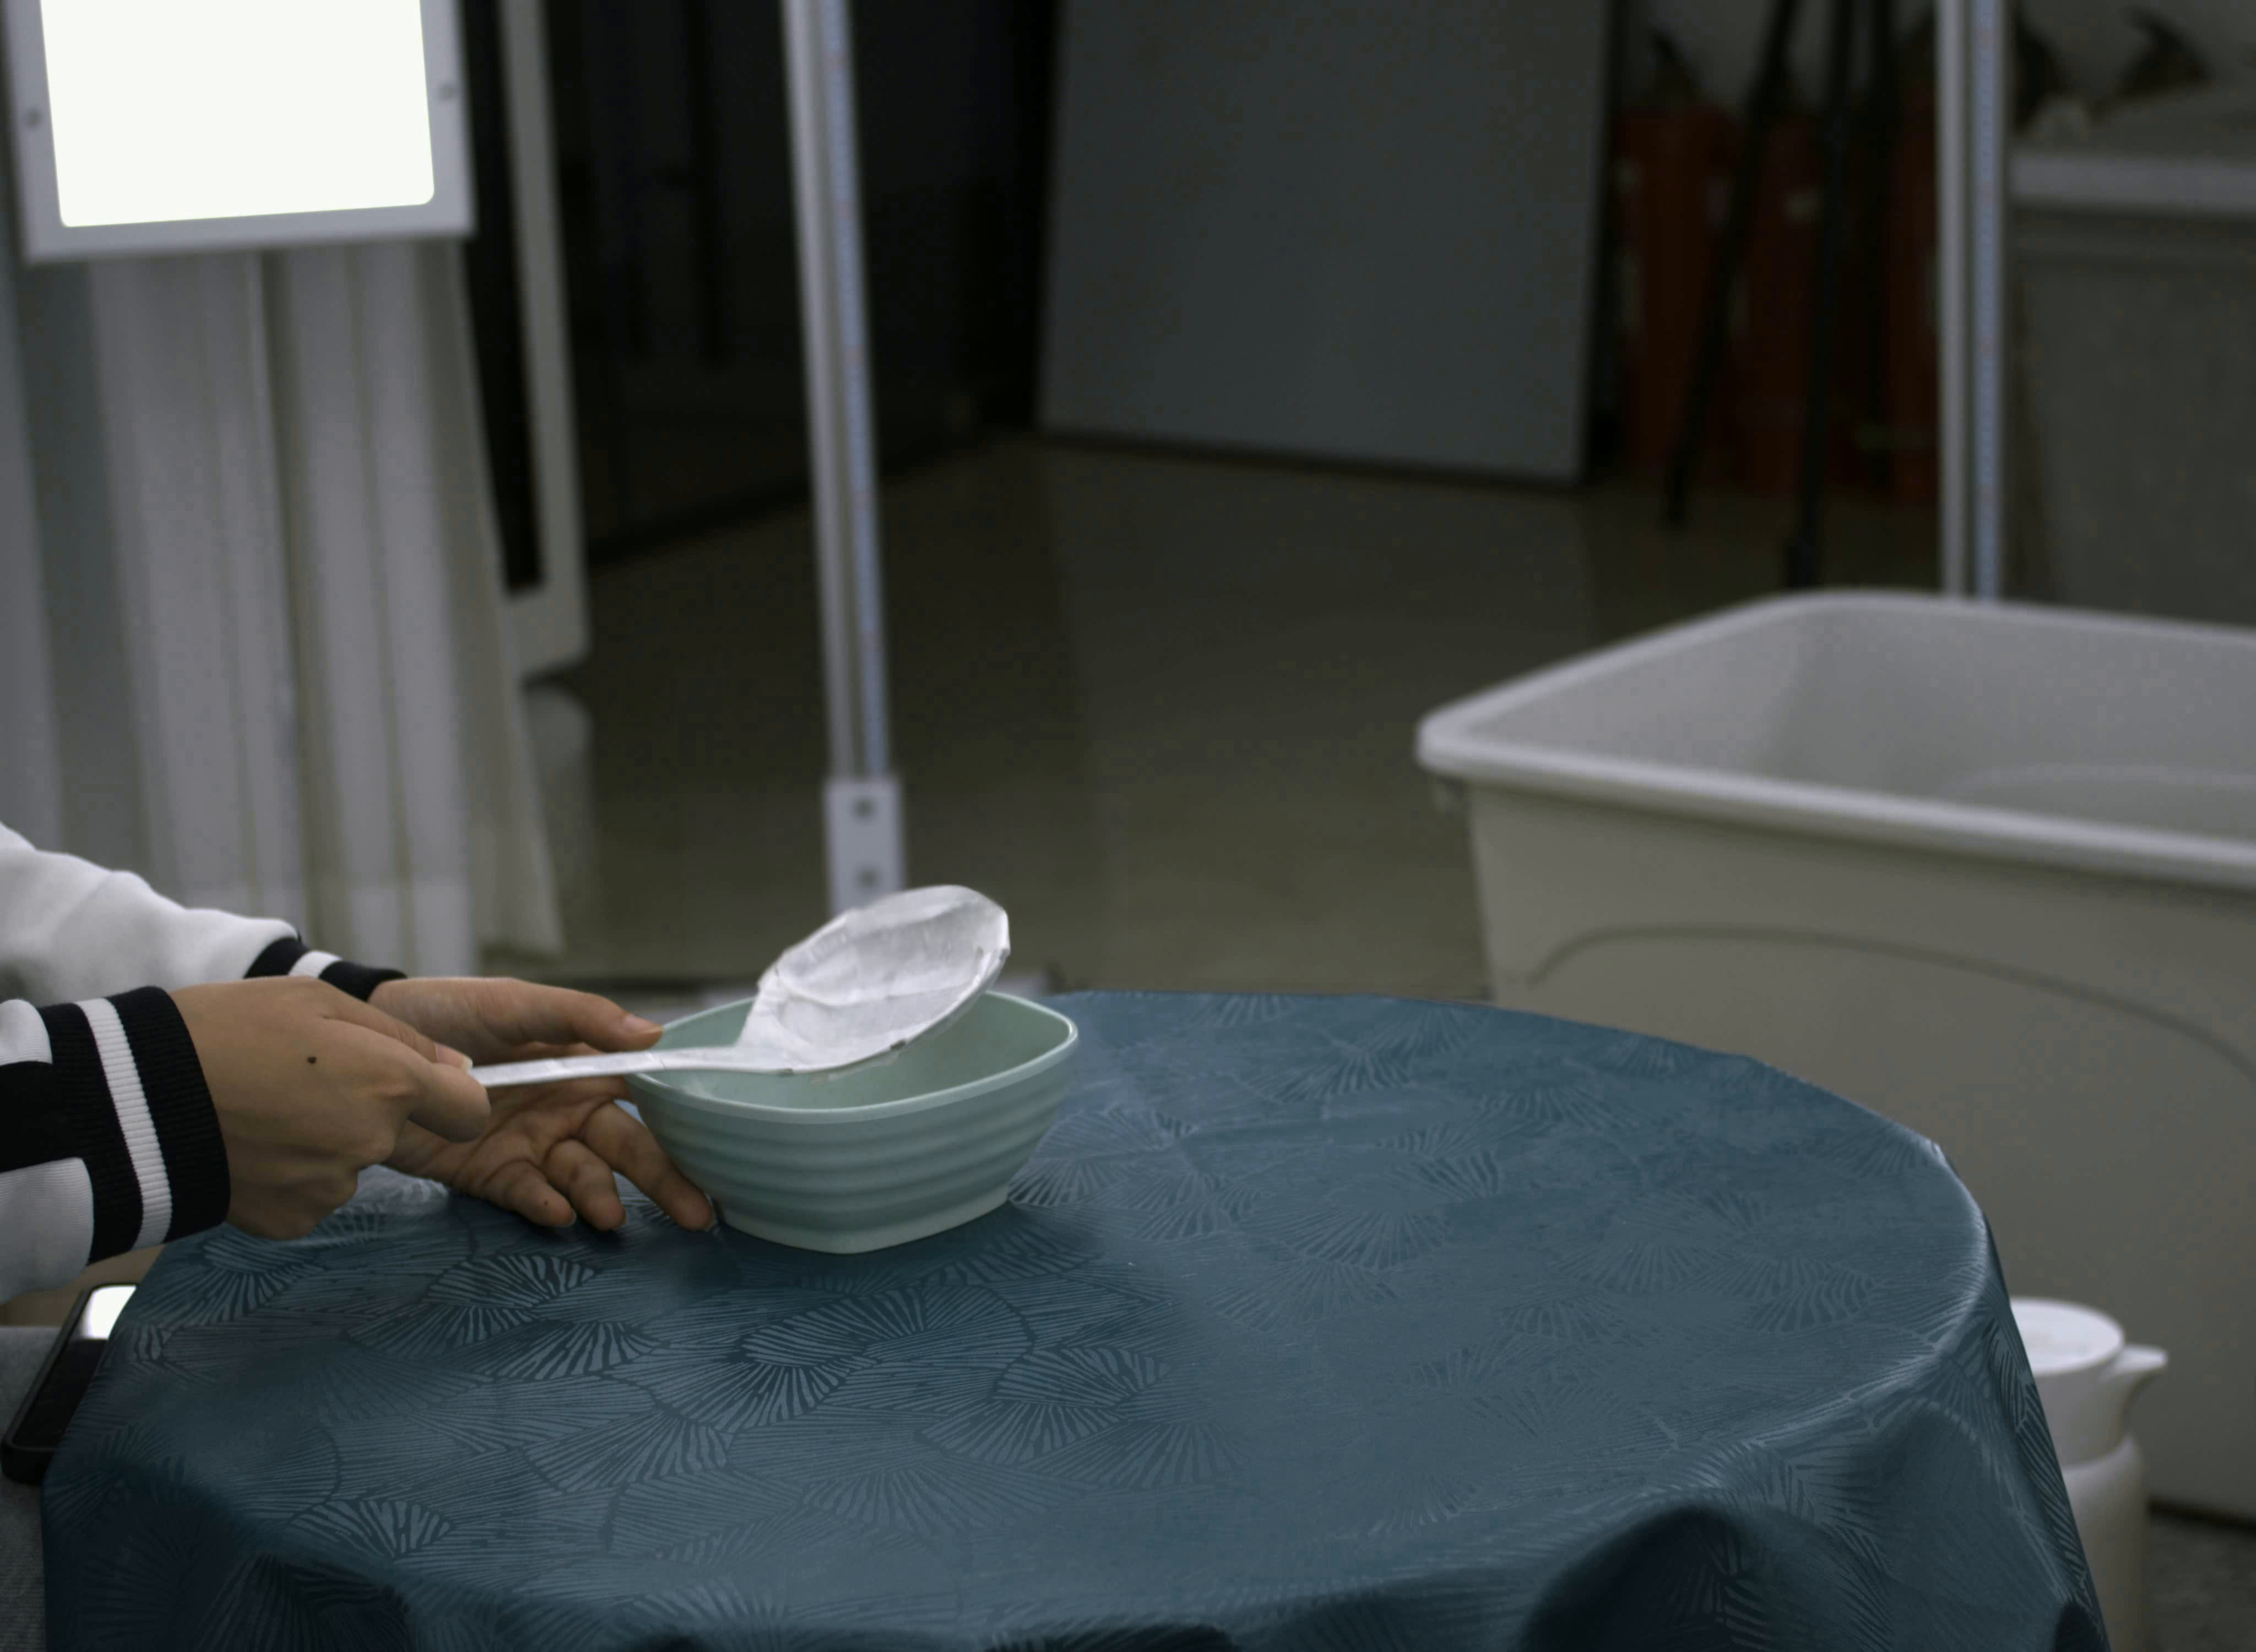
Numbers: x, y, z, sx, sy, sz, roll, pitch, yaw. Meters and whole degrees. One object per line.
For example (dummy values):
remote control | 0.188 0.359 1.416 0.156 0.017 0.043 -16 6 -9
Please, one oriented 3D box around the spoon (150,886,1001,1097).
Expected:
spoon | -0.173 0.051 1.708 0.271 0.060 0.101 -1 11 -23

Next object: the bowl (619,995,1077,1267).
bowl | -0.090 0.101 1.766 0.149 0.059 0.152 -4 13 0
